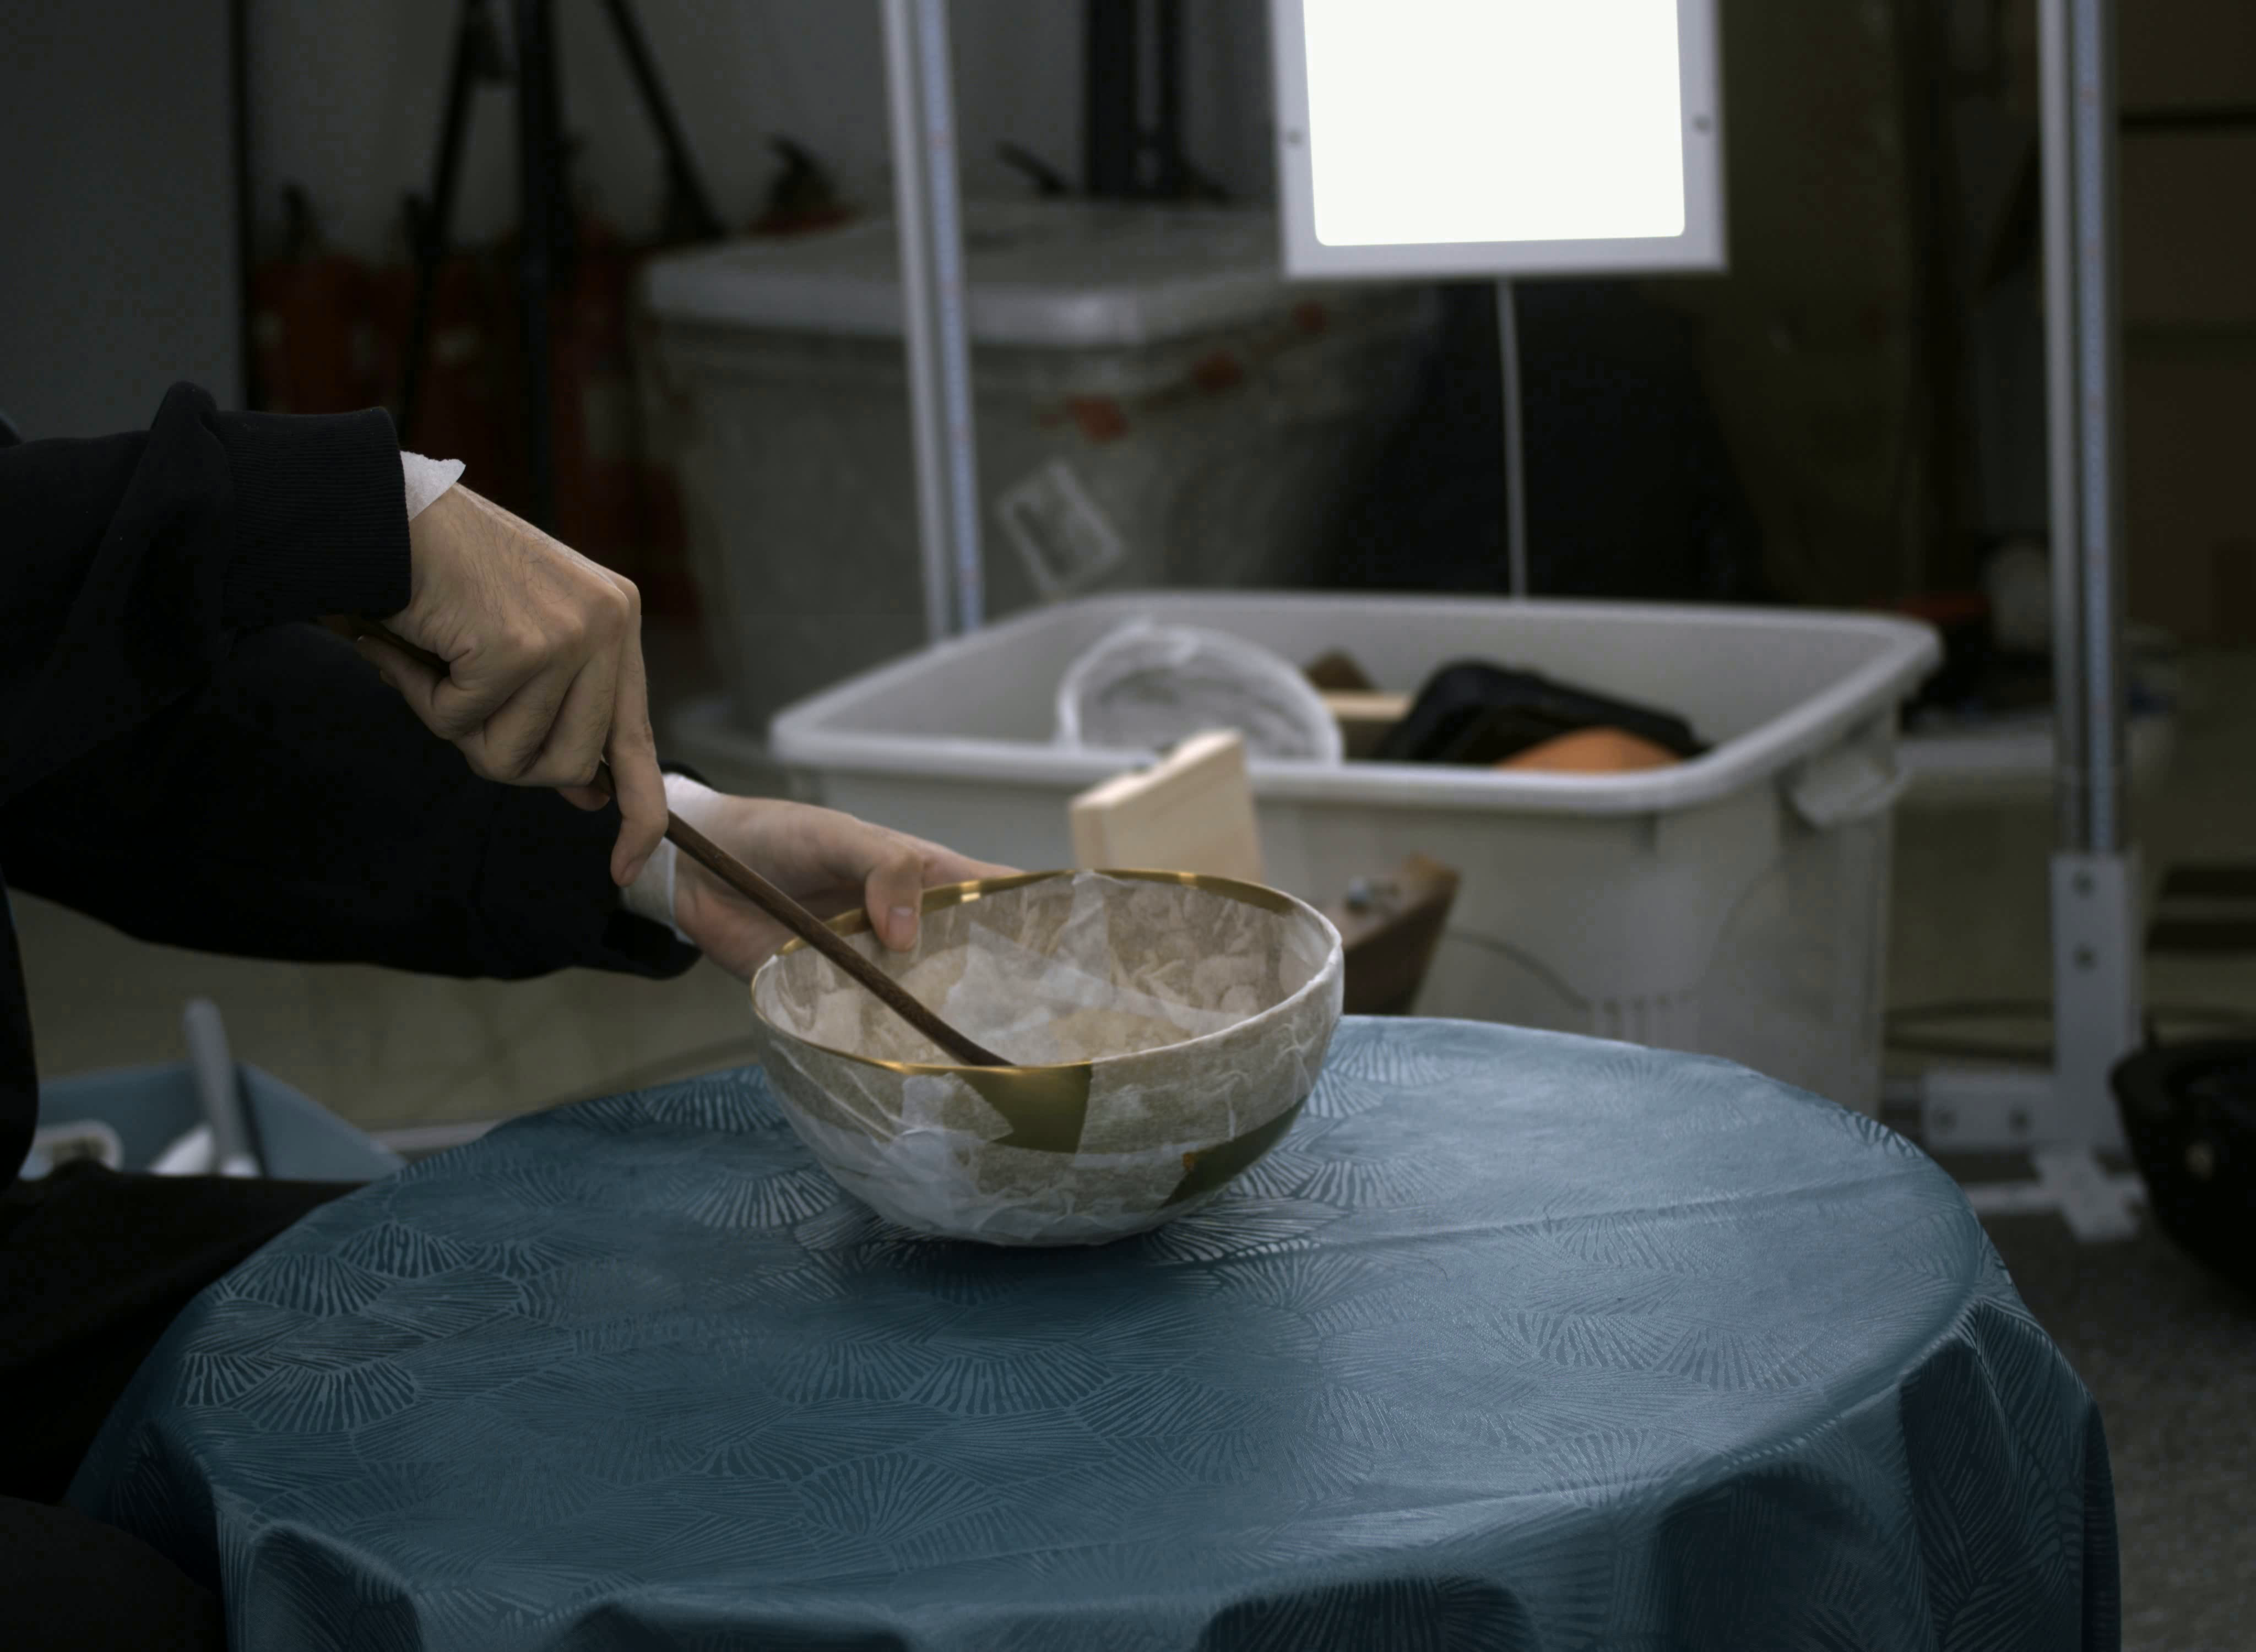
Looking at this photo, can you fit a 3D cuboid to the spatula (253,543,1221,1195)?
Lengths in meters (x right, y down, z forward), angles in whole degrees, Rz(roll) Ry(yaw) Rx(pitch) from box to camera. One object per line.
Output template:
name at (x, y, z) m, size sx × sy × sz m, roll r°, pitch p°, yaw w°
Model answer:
spatula at (-0.126, 0.016, 1.816) m, size 0.382 × 0.016 × 0.097 m, roll 36°, pitch -7°, yaw -14°

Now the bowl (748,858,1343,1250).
bowl at (-0.026, 0.086, 1.868) m, size 0.214 × 0.095 × 0.214 m, roll -8°, pitch 18°, yaw 1°
